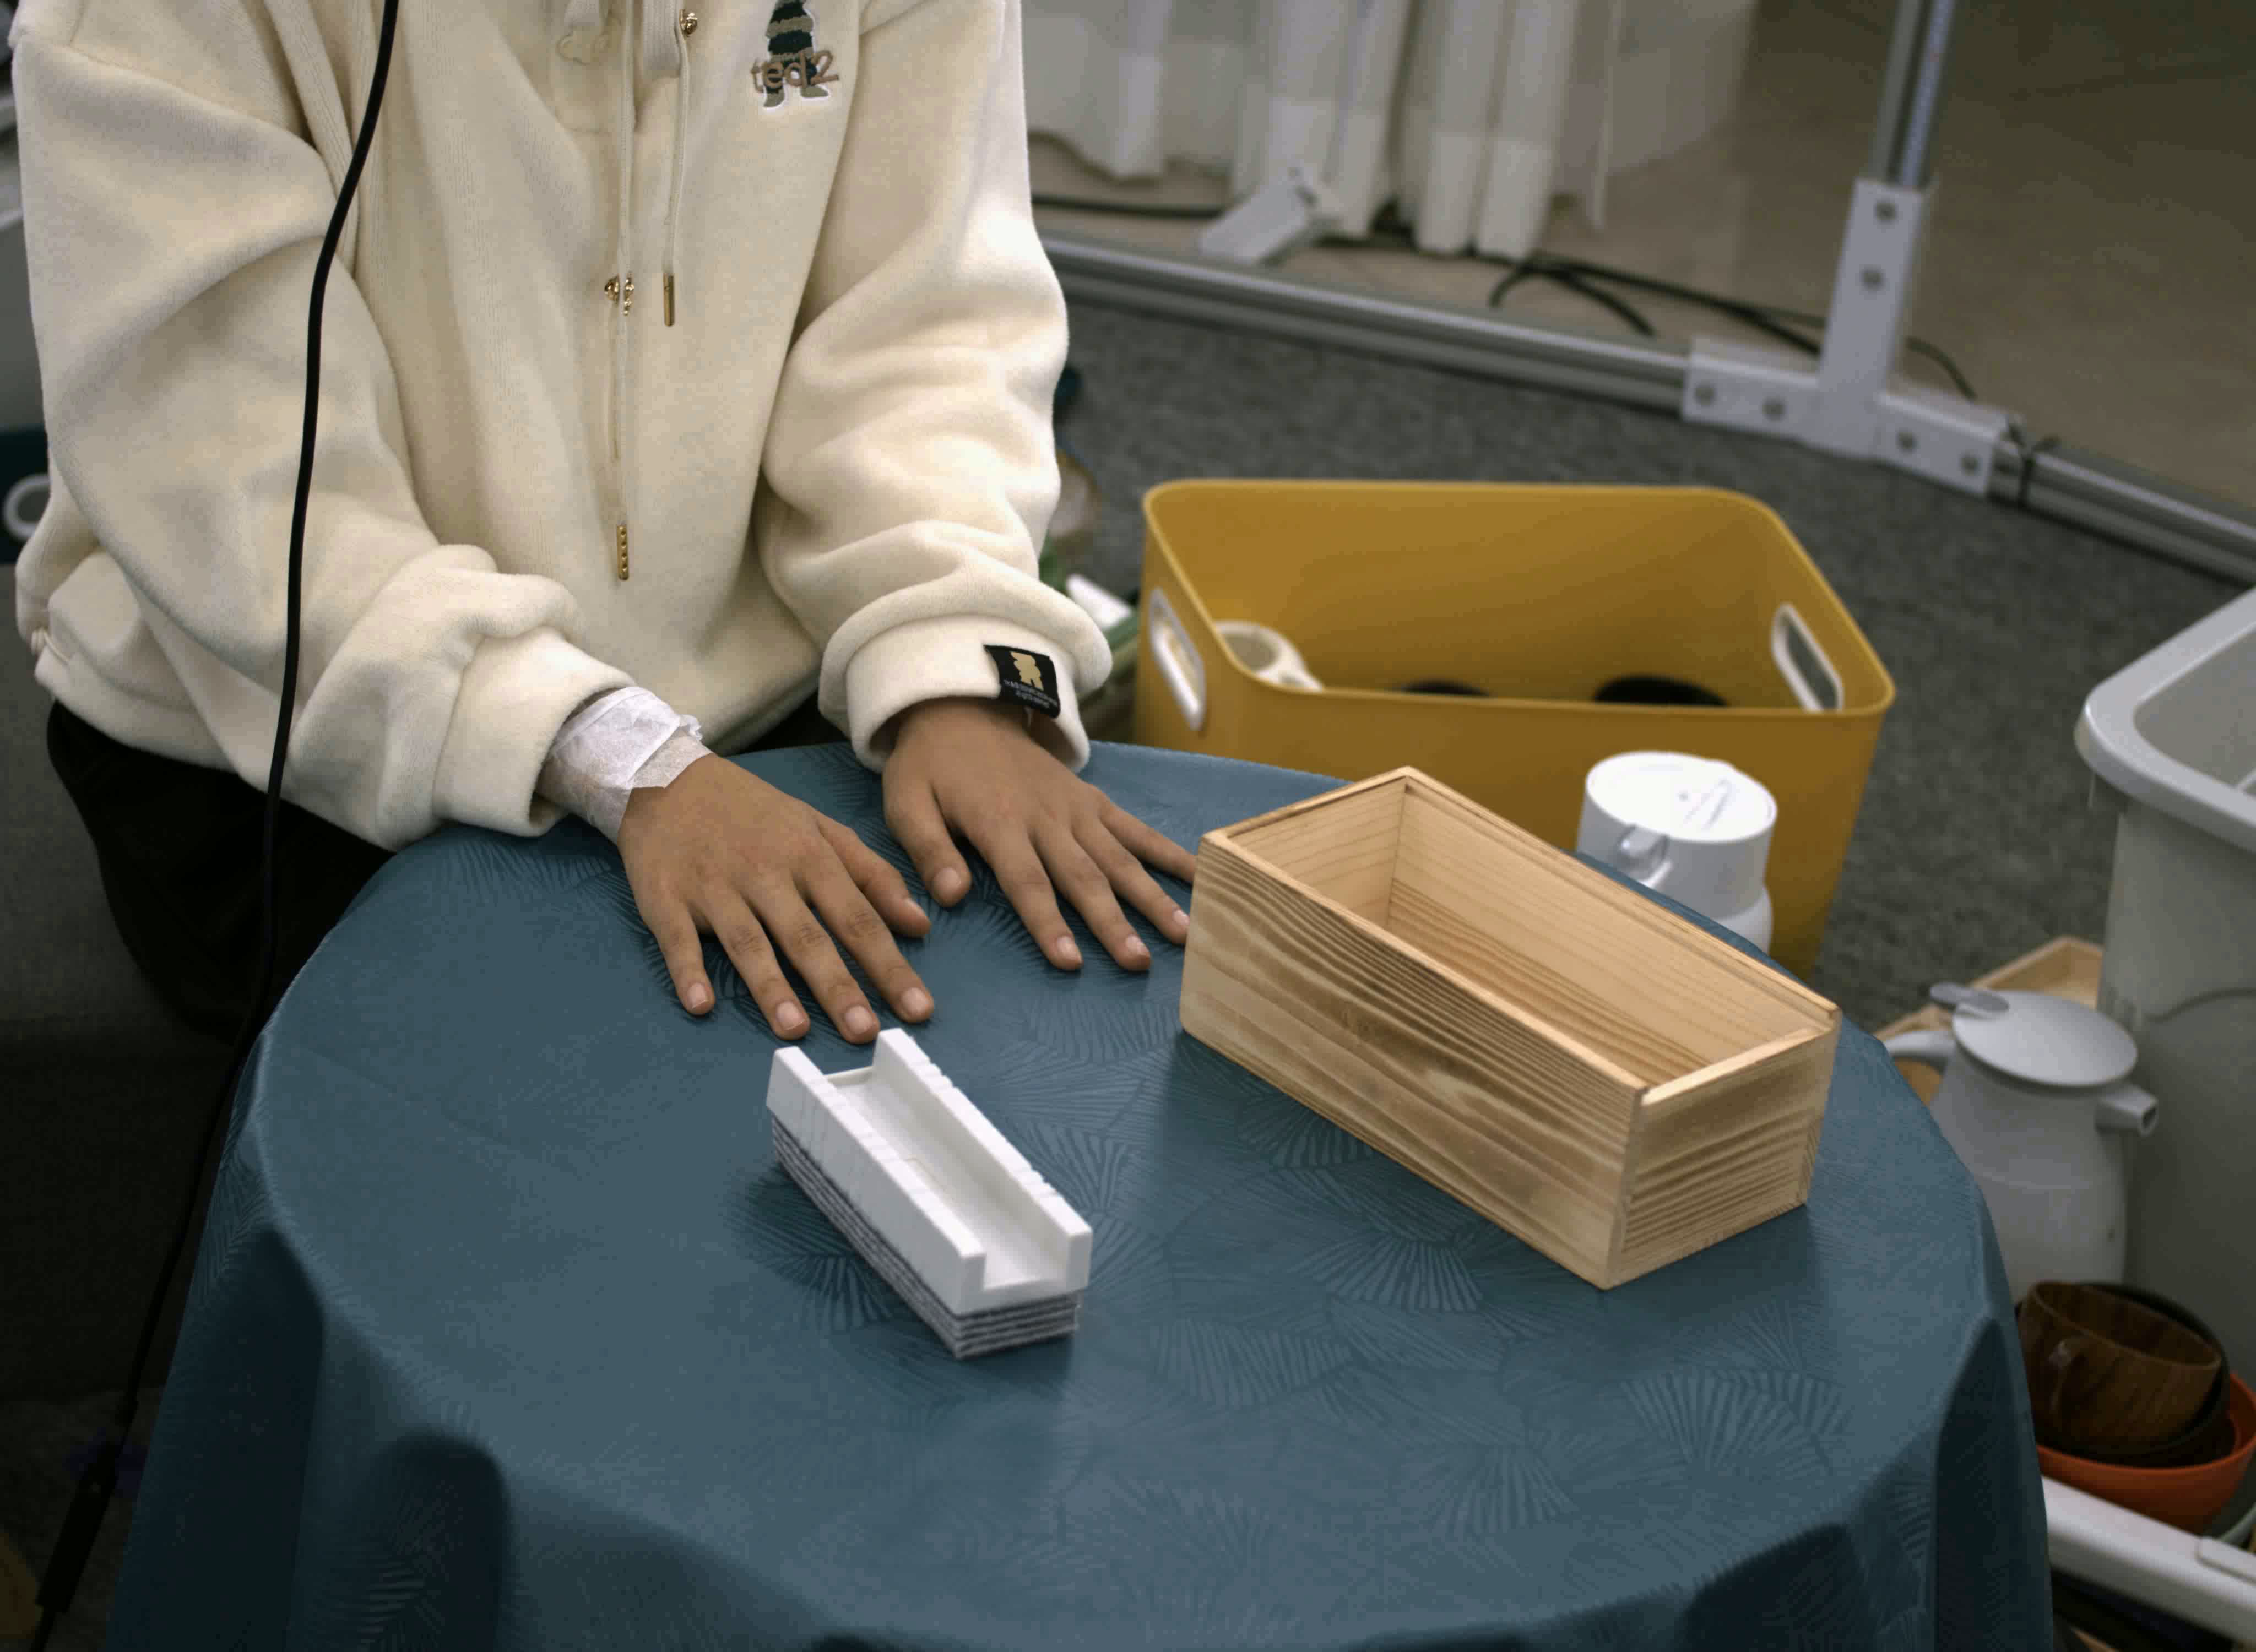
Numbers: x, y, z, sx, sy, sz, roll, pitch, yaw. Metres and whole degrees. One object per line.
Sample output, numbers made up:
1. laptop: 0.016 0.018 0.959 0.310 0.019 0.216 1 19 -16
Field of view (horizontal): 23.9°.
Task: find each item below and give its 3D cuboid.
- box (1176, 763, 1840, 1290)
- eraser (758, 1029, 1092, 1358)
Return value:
1. box: 0.129 0.066 1.856 0.107 0.080 0.213 -18 36 -40
2. eraser: -0.068 0.119 1.743 0.049 0.046 0.135 -12 34 -30
